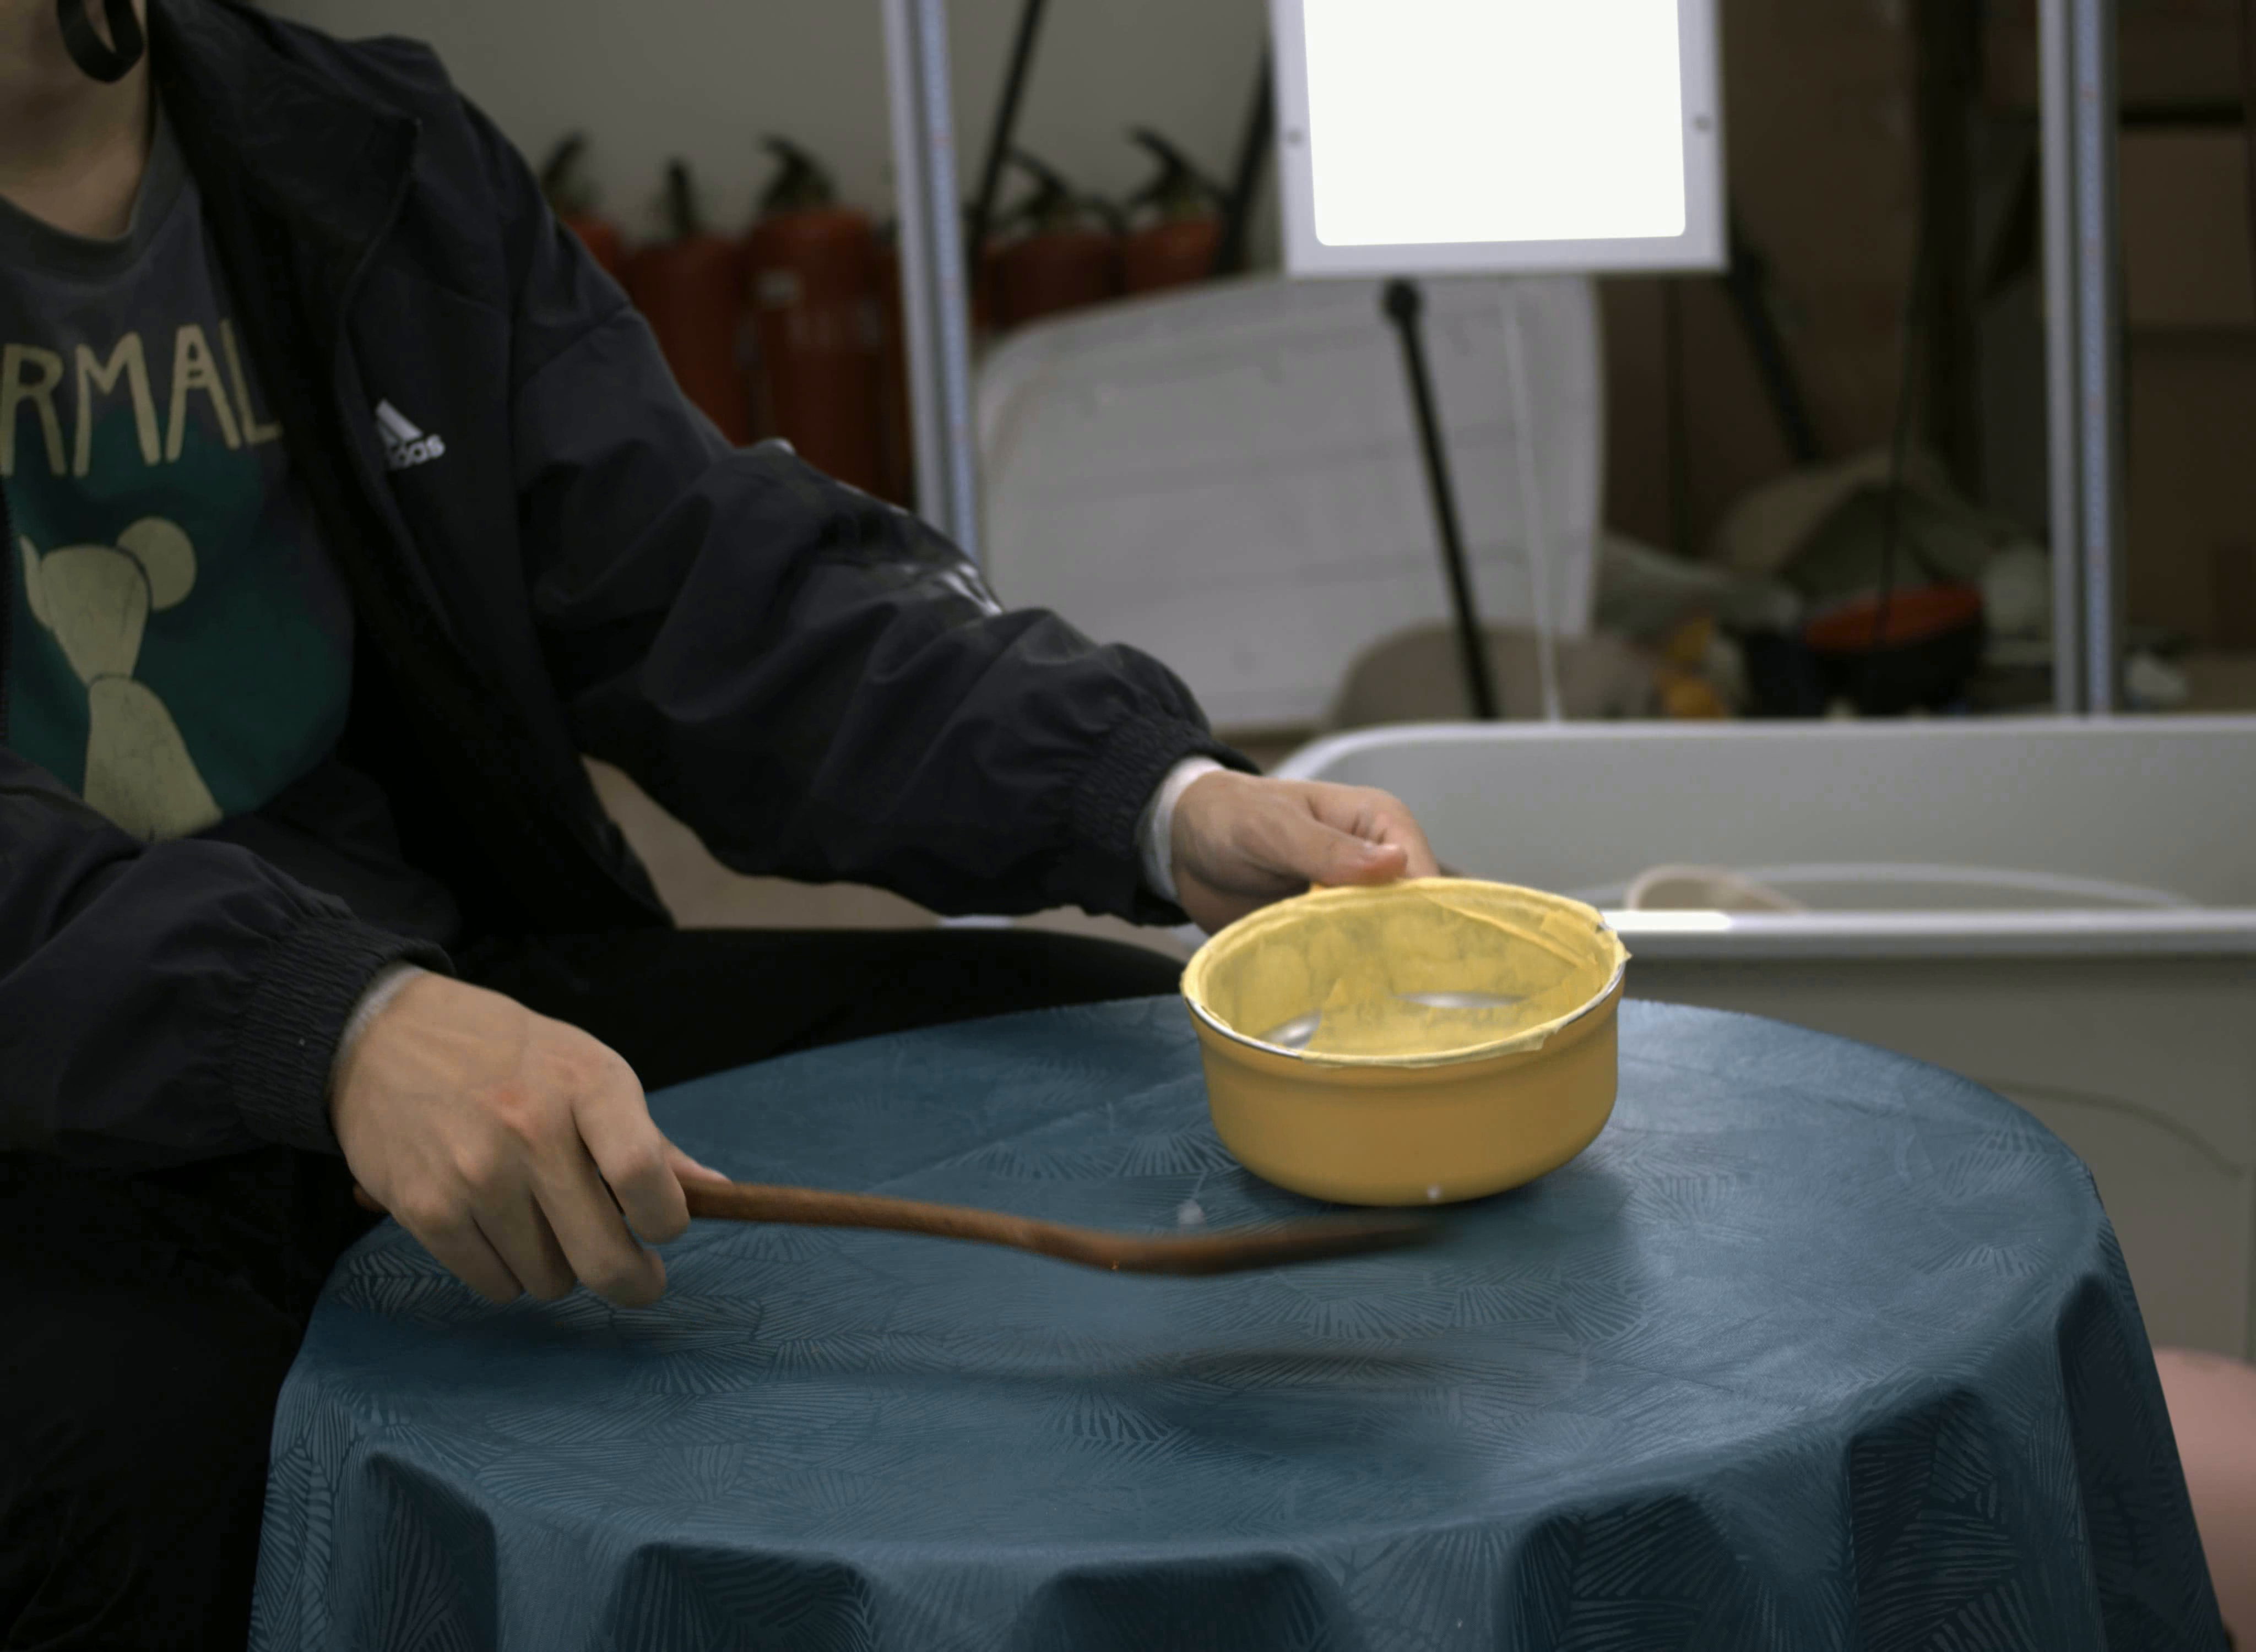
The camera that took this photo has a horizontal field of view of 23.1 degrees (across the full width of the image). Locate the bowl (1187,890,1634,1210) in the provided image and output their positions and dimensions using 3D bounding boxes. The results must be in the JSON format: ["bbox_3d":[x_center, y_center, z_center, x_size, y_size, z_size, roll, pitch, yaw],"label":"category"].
[{"bbox_3d":[0.097,0.076,1.910,0.151,0.074,0.180,-9,21,-11],"label":"bowl"}]

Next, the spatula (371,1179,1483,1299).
[{"bbox_3d":[-0.074,0.131,1.751,0.393,0.024,0.084,2,-2,26],"label":"spatula"}]
